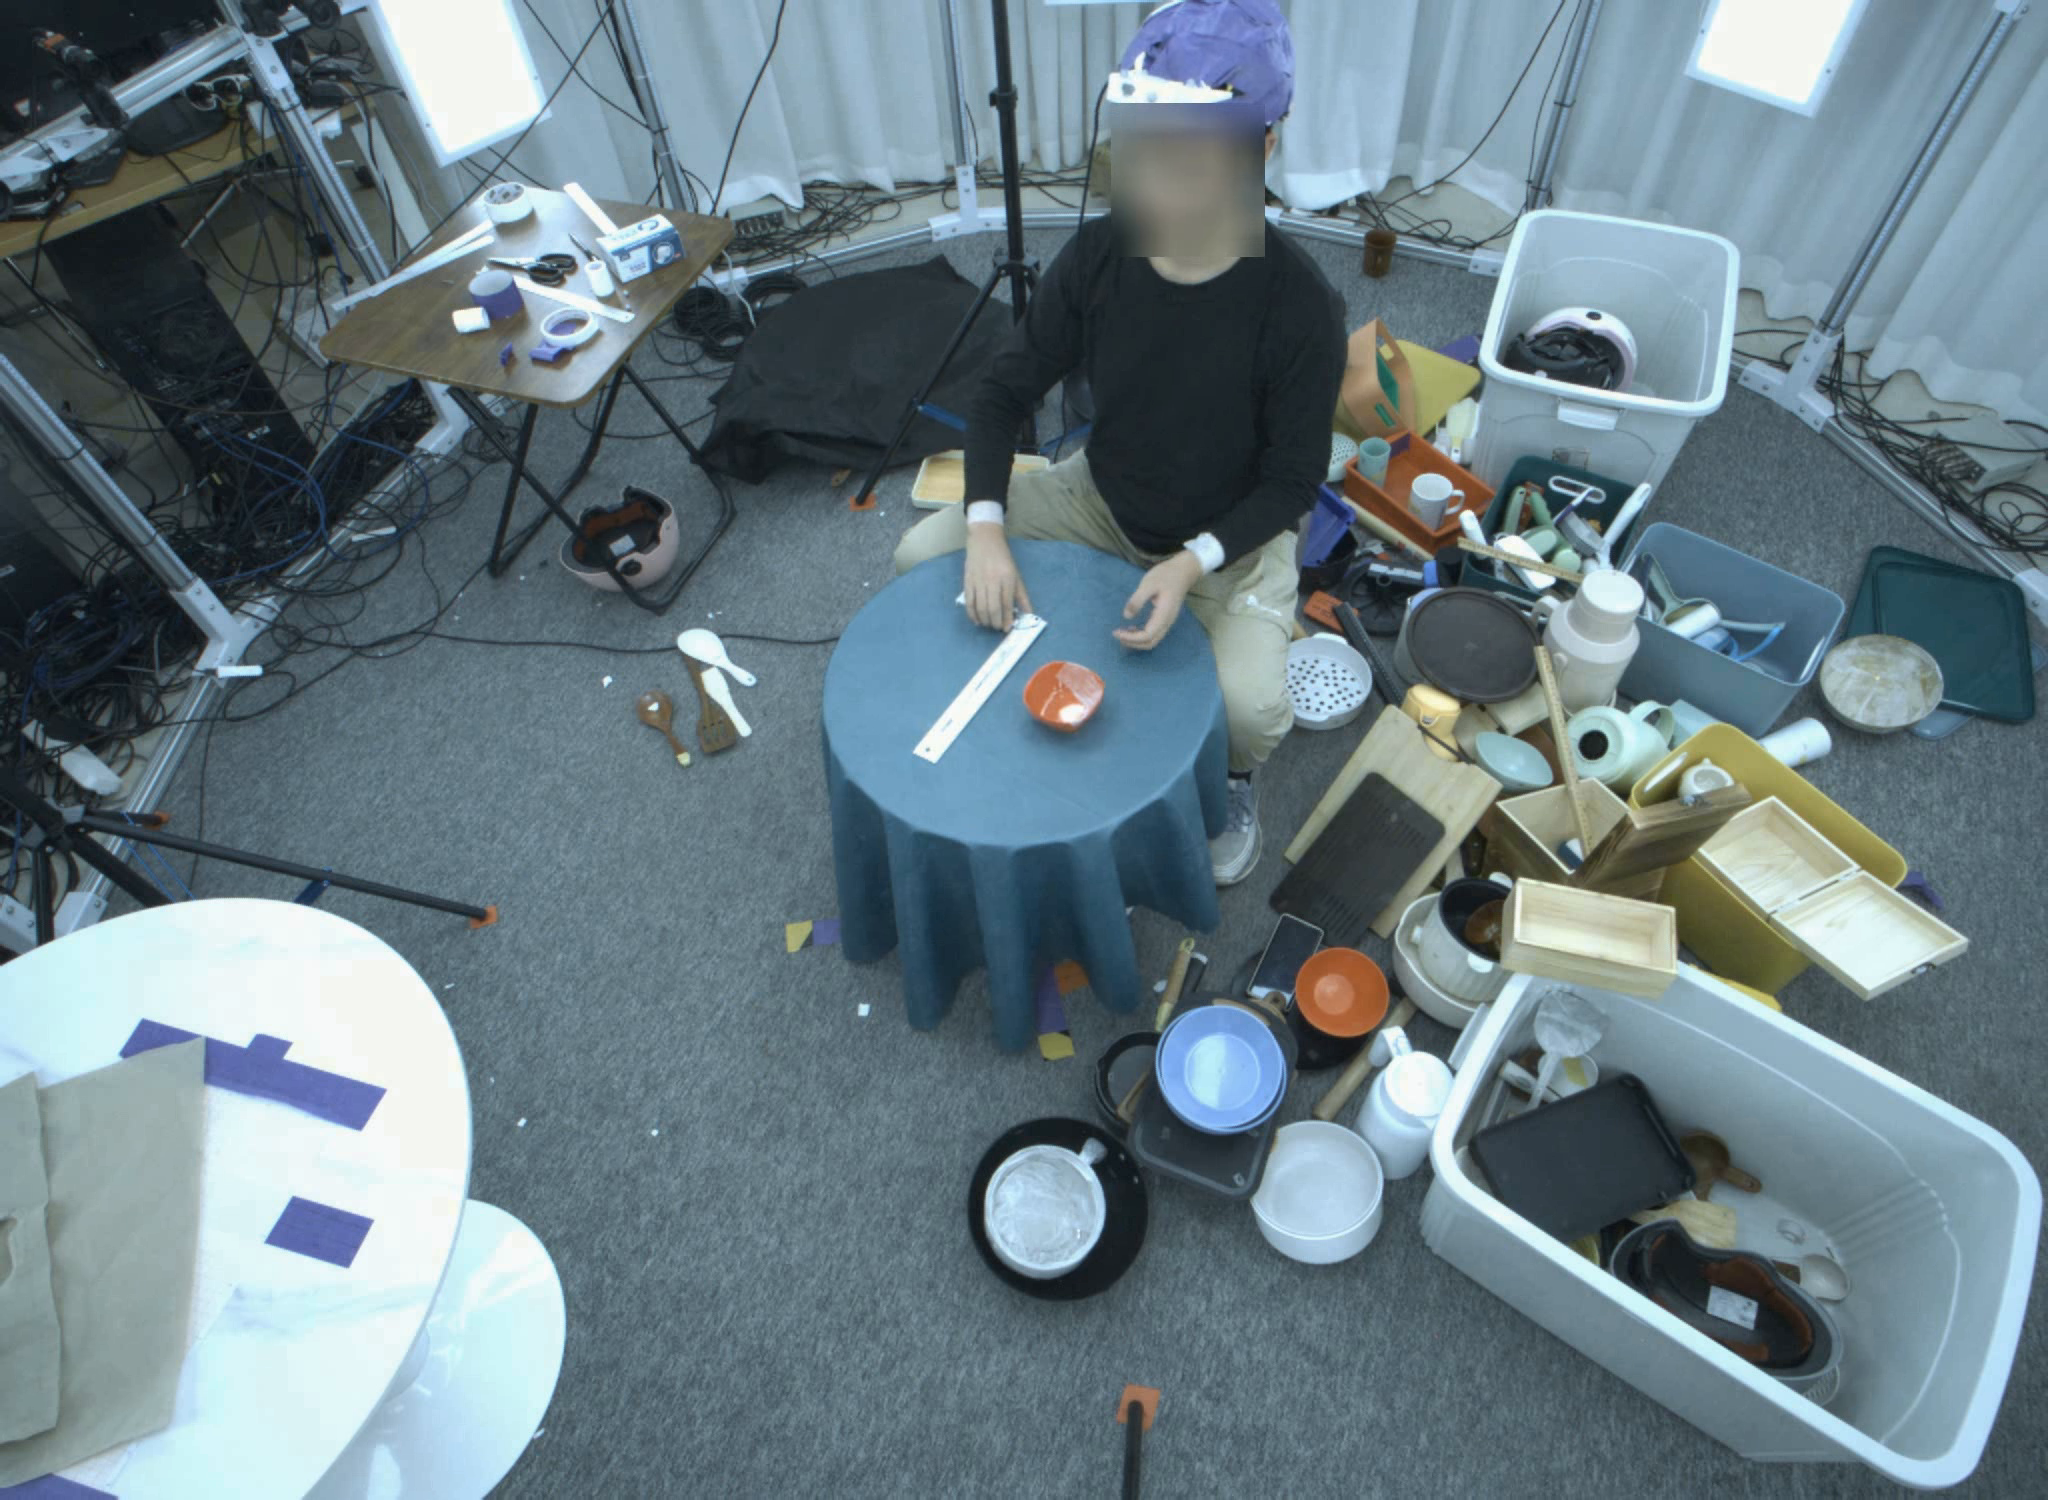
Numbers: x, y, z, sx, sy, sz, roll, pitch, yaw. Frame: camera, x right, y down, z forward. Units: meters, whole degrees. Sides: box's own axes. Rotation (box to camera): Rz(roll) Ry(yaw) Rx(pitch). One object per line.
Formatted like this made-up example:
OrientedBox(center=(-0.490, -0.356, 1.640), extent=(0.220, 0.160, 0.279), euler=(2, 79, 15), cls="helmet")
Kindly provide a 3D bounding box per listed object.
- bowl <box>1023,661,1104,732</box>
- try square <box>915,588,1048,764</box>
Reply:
OrientedBox(center=(0.059, -0.071, 1.803), extent=(0.118, 0.052, 0.118), euler=(-2, 55, 4), cls="bowl")
OrientedBox(center=(-0.106, -0.120, 1.873), extent=(0.150, 0.016, 0.314), euler=(25, 61, 21), cls="try square")
